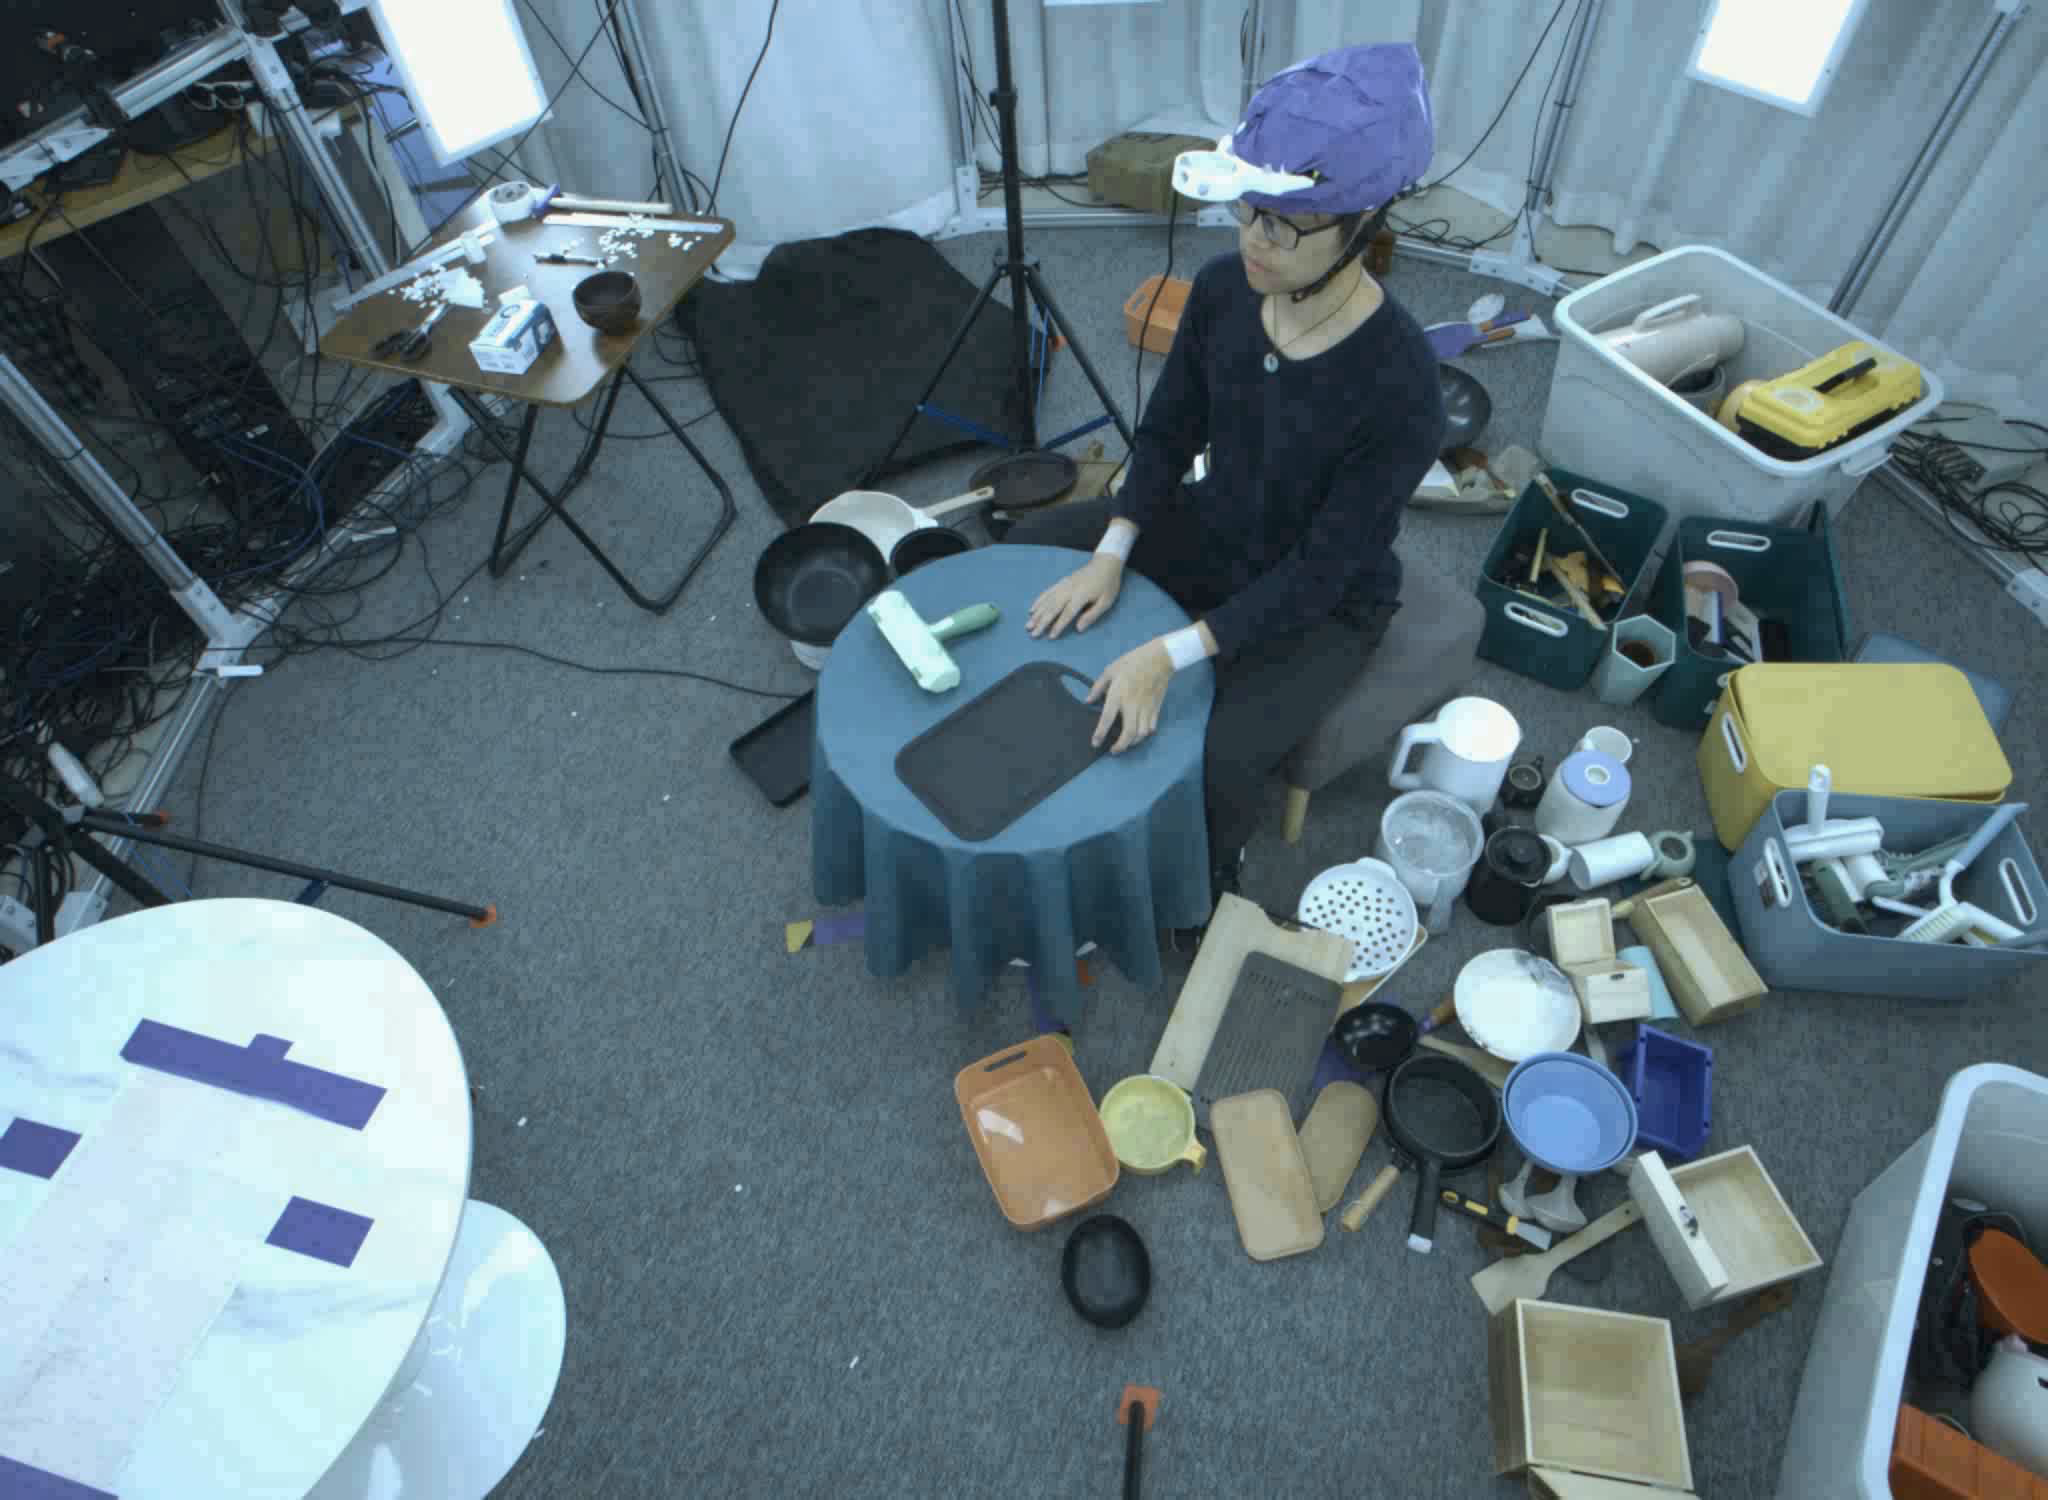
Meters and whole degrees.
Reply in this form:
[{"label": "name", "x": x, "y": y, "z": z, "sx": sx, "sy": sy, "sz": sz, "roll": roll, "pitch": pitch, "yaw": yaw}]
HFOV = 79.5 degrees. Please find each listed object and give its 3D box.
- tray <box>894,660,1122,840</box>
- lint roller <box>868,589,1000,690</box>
[{"label": "tray", "x": -0.017, "y": -0.012, "z": 1.793, "sx": 0.328, "sy": 0.010, "sz": 0.207, "roll": -35, "pitch": 61, "yaw": -20}, {"label": "lint roller", "x": -0.121, "y": -0.202, "z": 1.882, "sx": 0.184, "sy": 0.083, "sz": 0.195, "roll": -32, "pitch": 60, "yaw": -11}]
